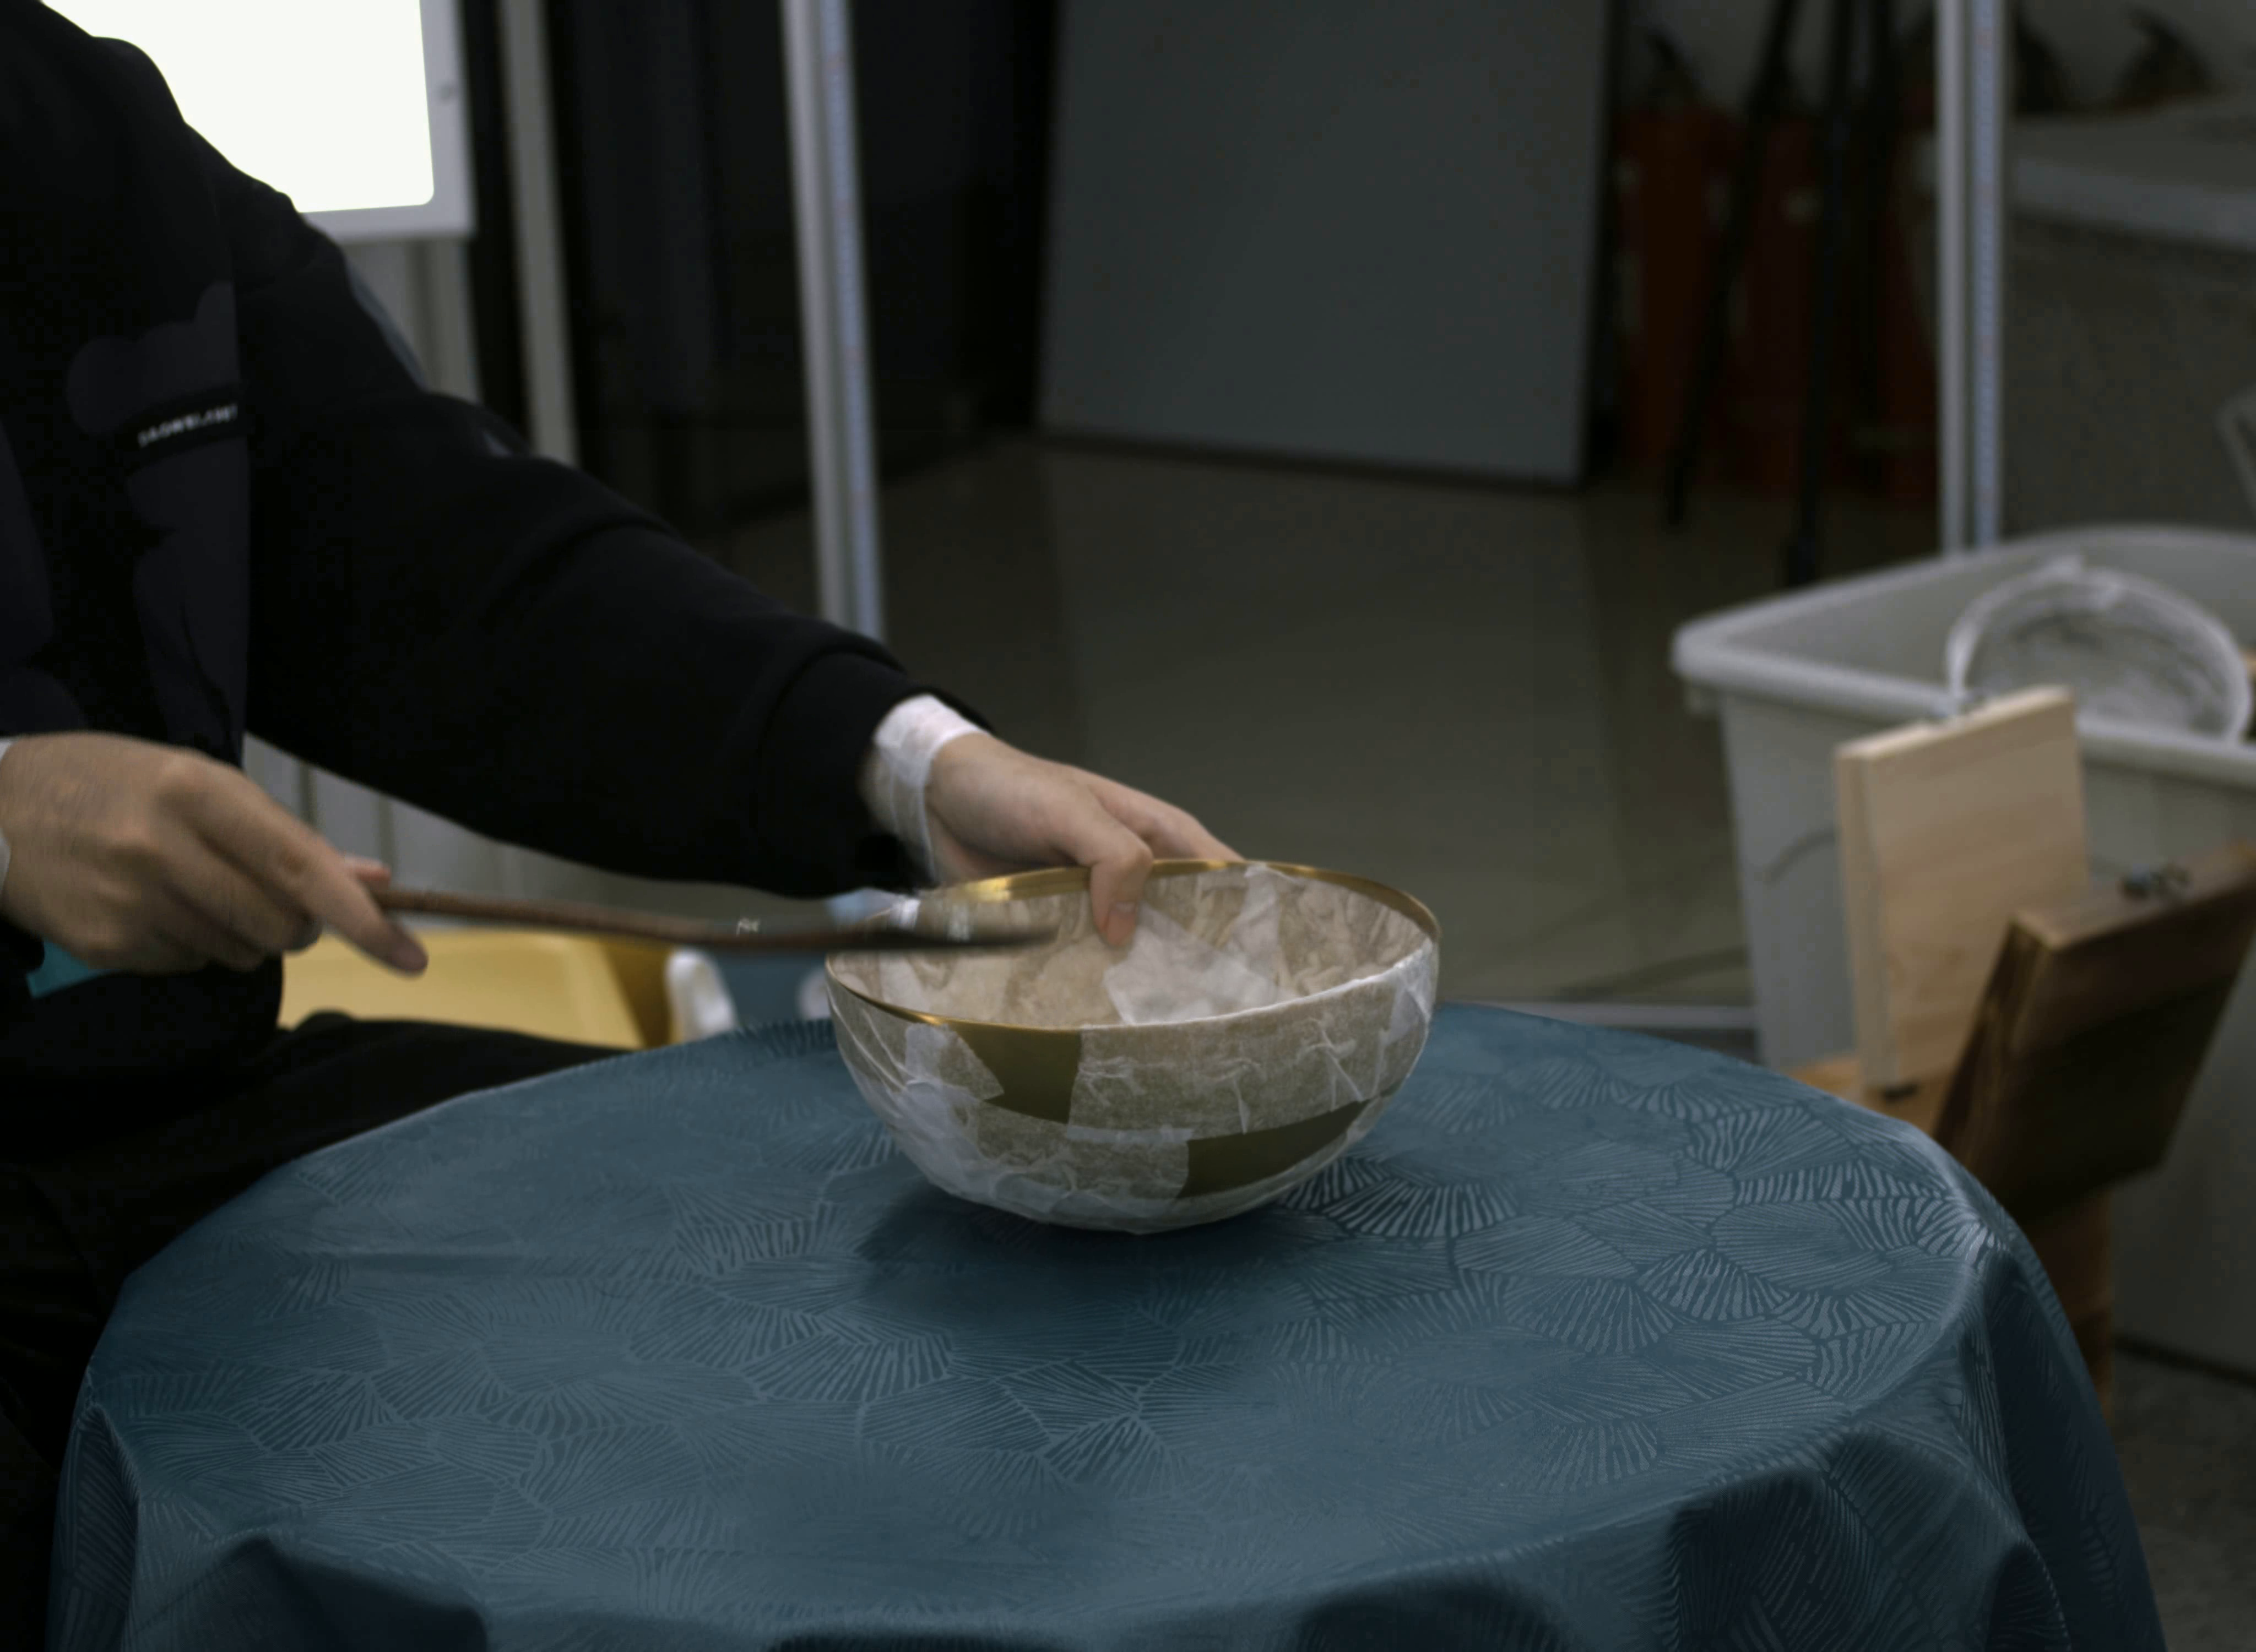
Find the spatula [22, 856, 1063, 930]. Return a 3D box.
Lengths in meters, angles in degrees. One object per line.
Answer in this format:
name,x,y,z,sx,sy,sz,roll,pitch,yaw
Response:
spatula,-0.192,0.020,1.641,0.388,0.016,0.094,2,-3,34

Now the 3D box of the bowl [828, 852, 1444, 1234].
bowl,0.004,0.076,1.751,0.212,0.095,0.215,-5,14,0
